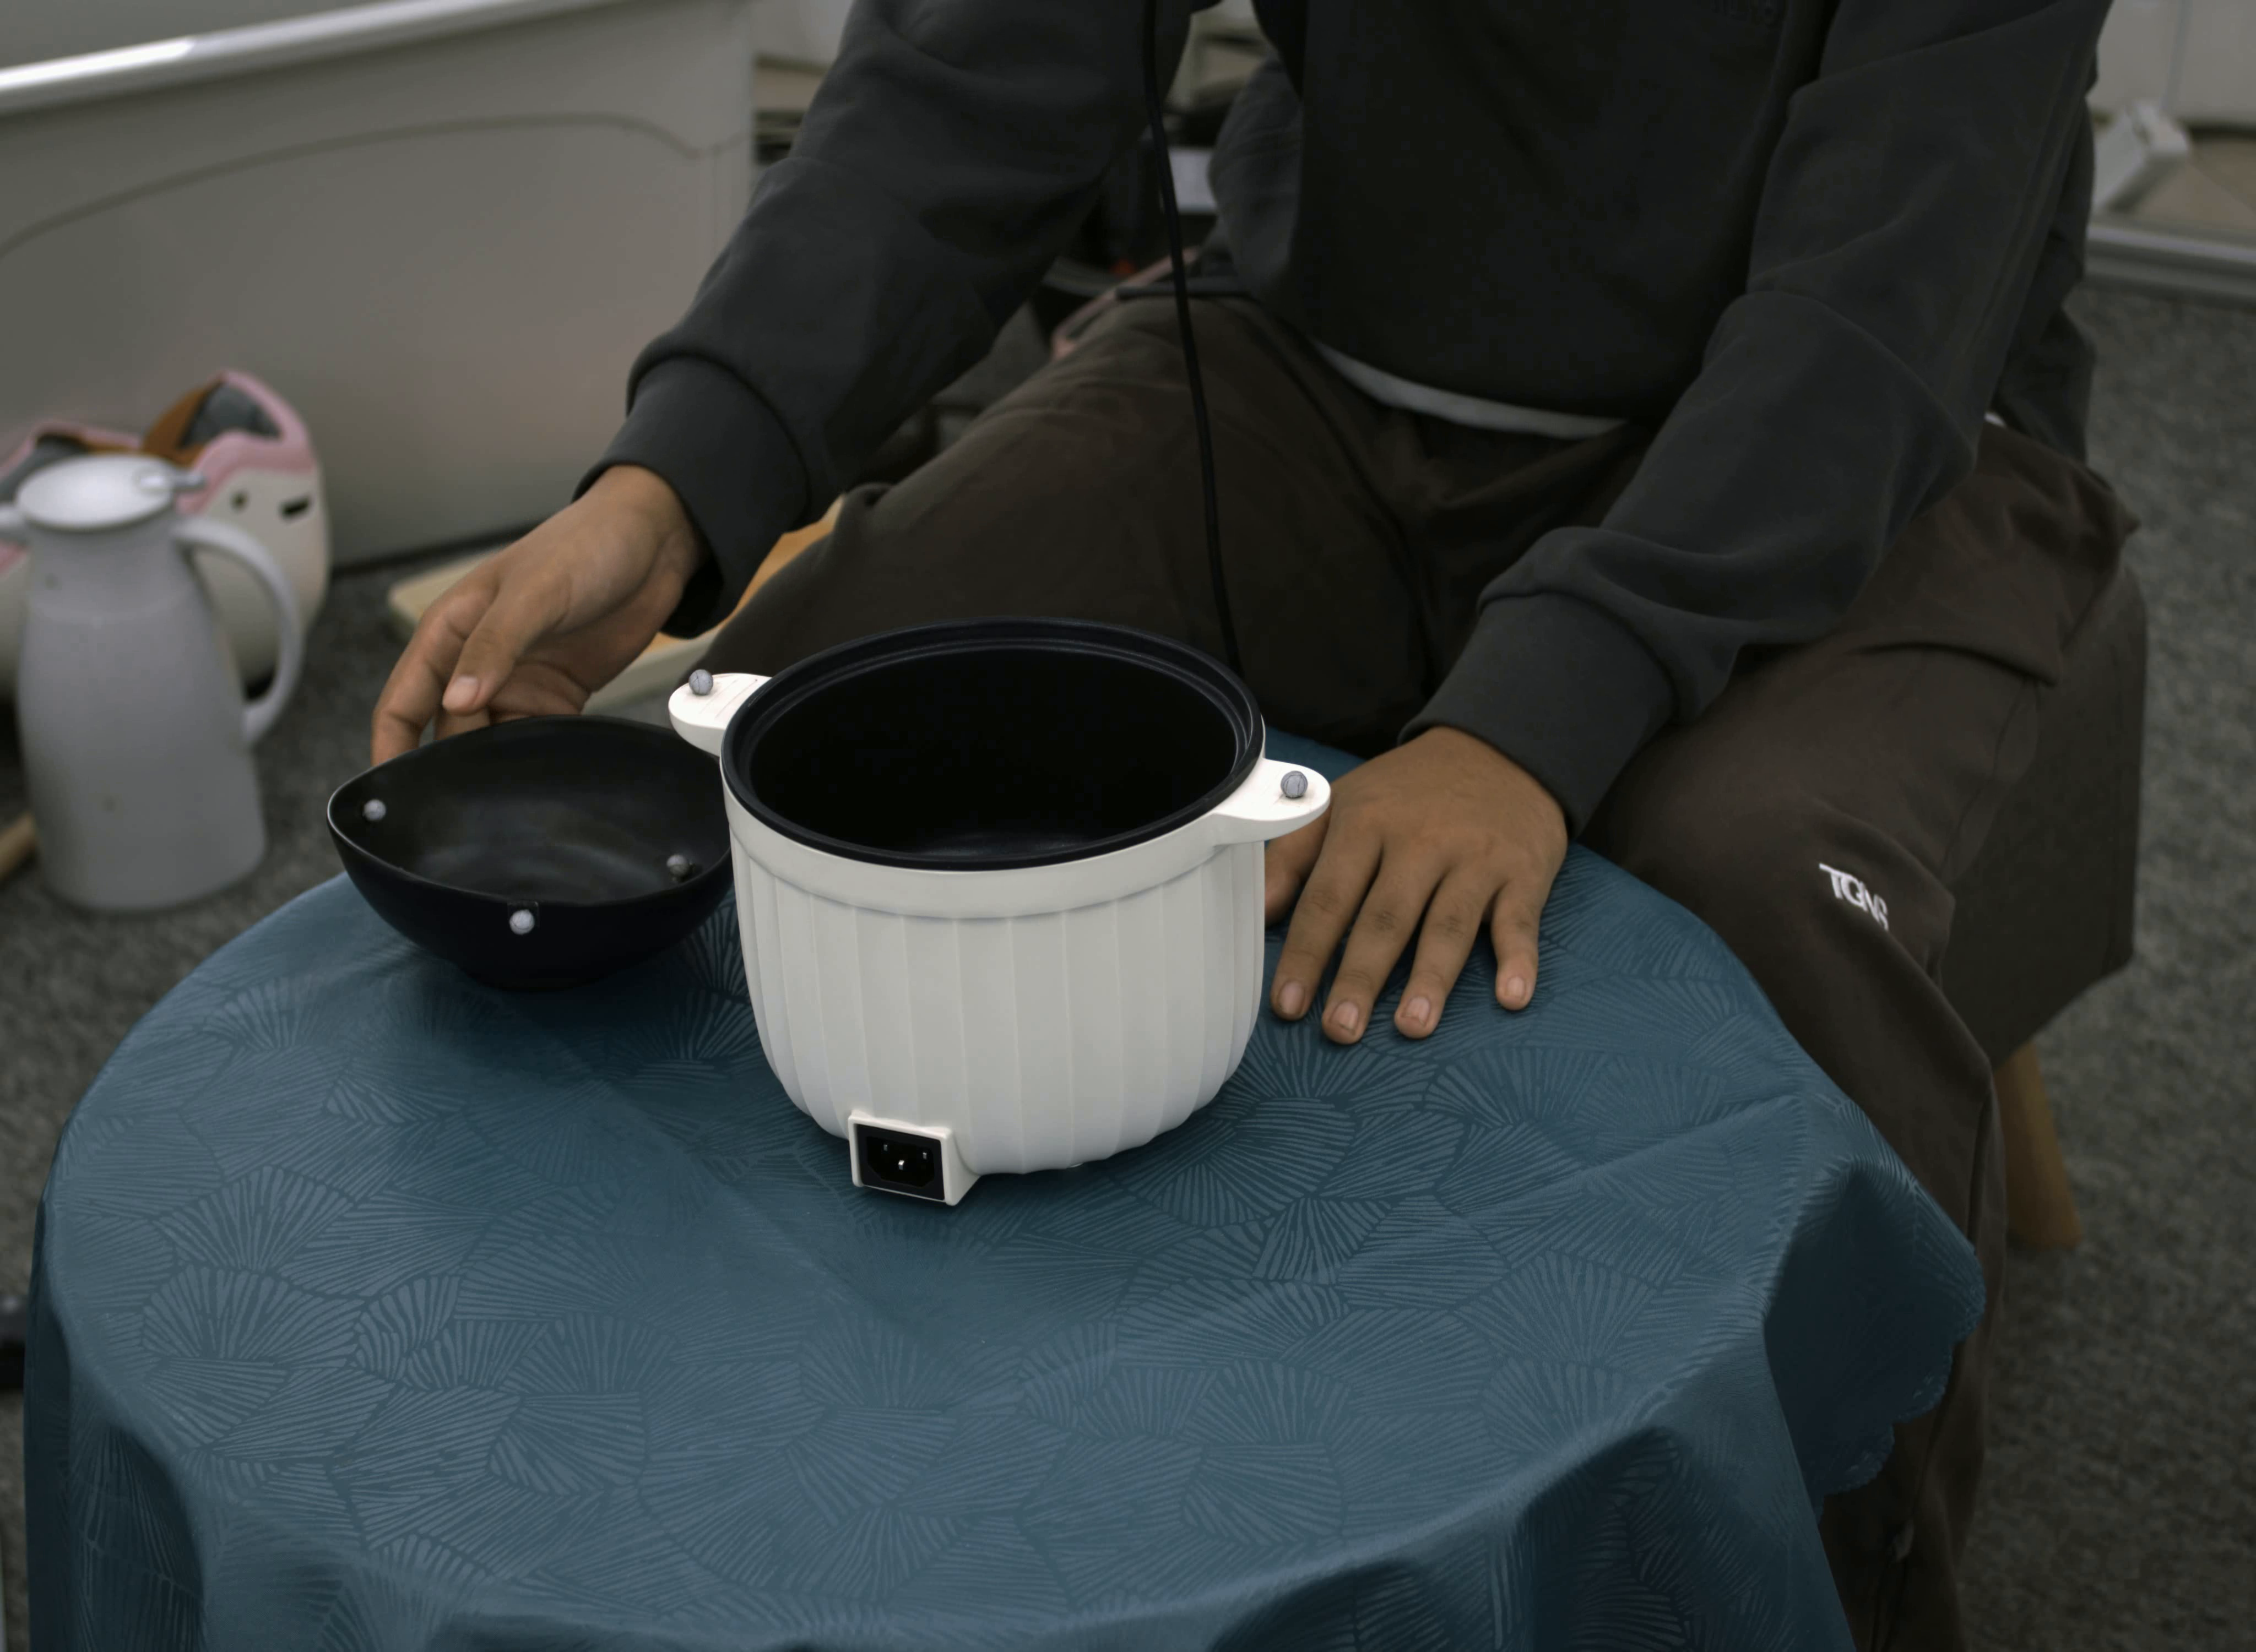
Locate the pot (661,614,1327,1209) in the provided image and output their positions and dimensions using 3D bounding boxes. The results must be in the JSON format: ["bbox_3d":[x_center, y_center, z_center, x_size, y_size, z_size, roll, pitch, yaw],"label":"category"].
[{"bbox_3d":[-0.042,0.026,1.906,0.239,0.141,0.194,10,32,21],"label":"pot"}]

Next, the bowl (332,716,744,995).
[{"bbox_3d":[-0.210,0.018,2.014,0.170,0.066,0.139,20,34,39],"label":"bowl"}]
